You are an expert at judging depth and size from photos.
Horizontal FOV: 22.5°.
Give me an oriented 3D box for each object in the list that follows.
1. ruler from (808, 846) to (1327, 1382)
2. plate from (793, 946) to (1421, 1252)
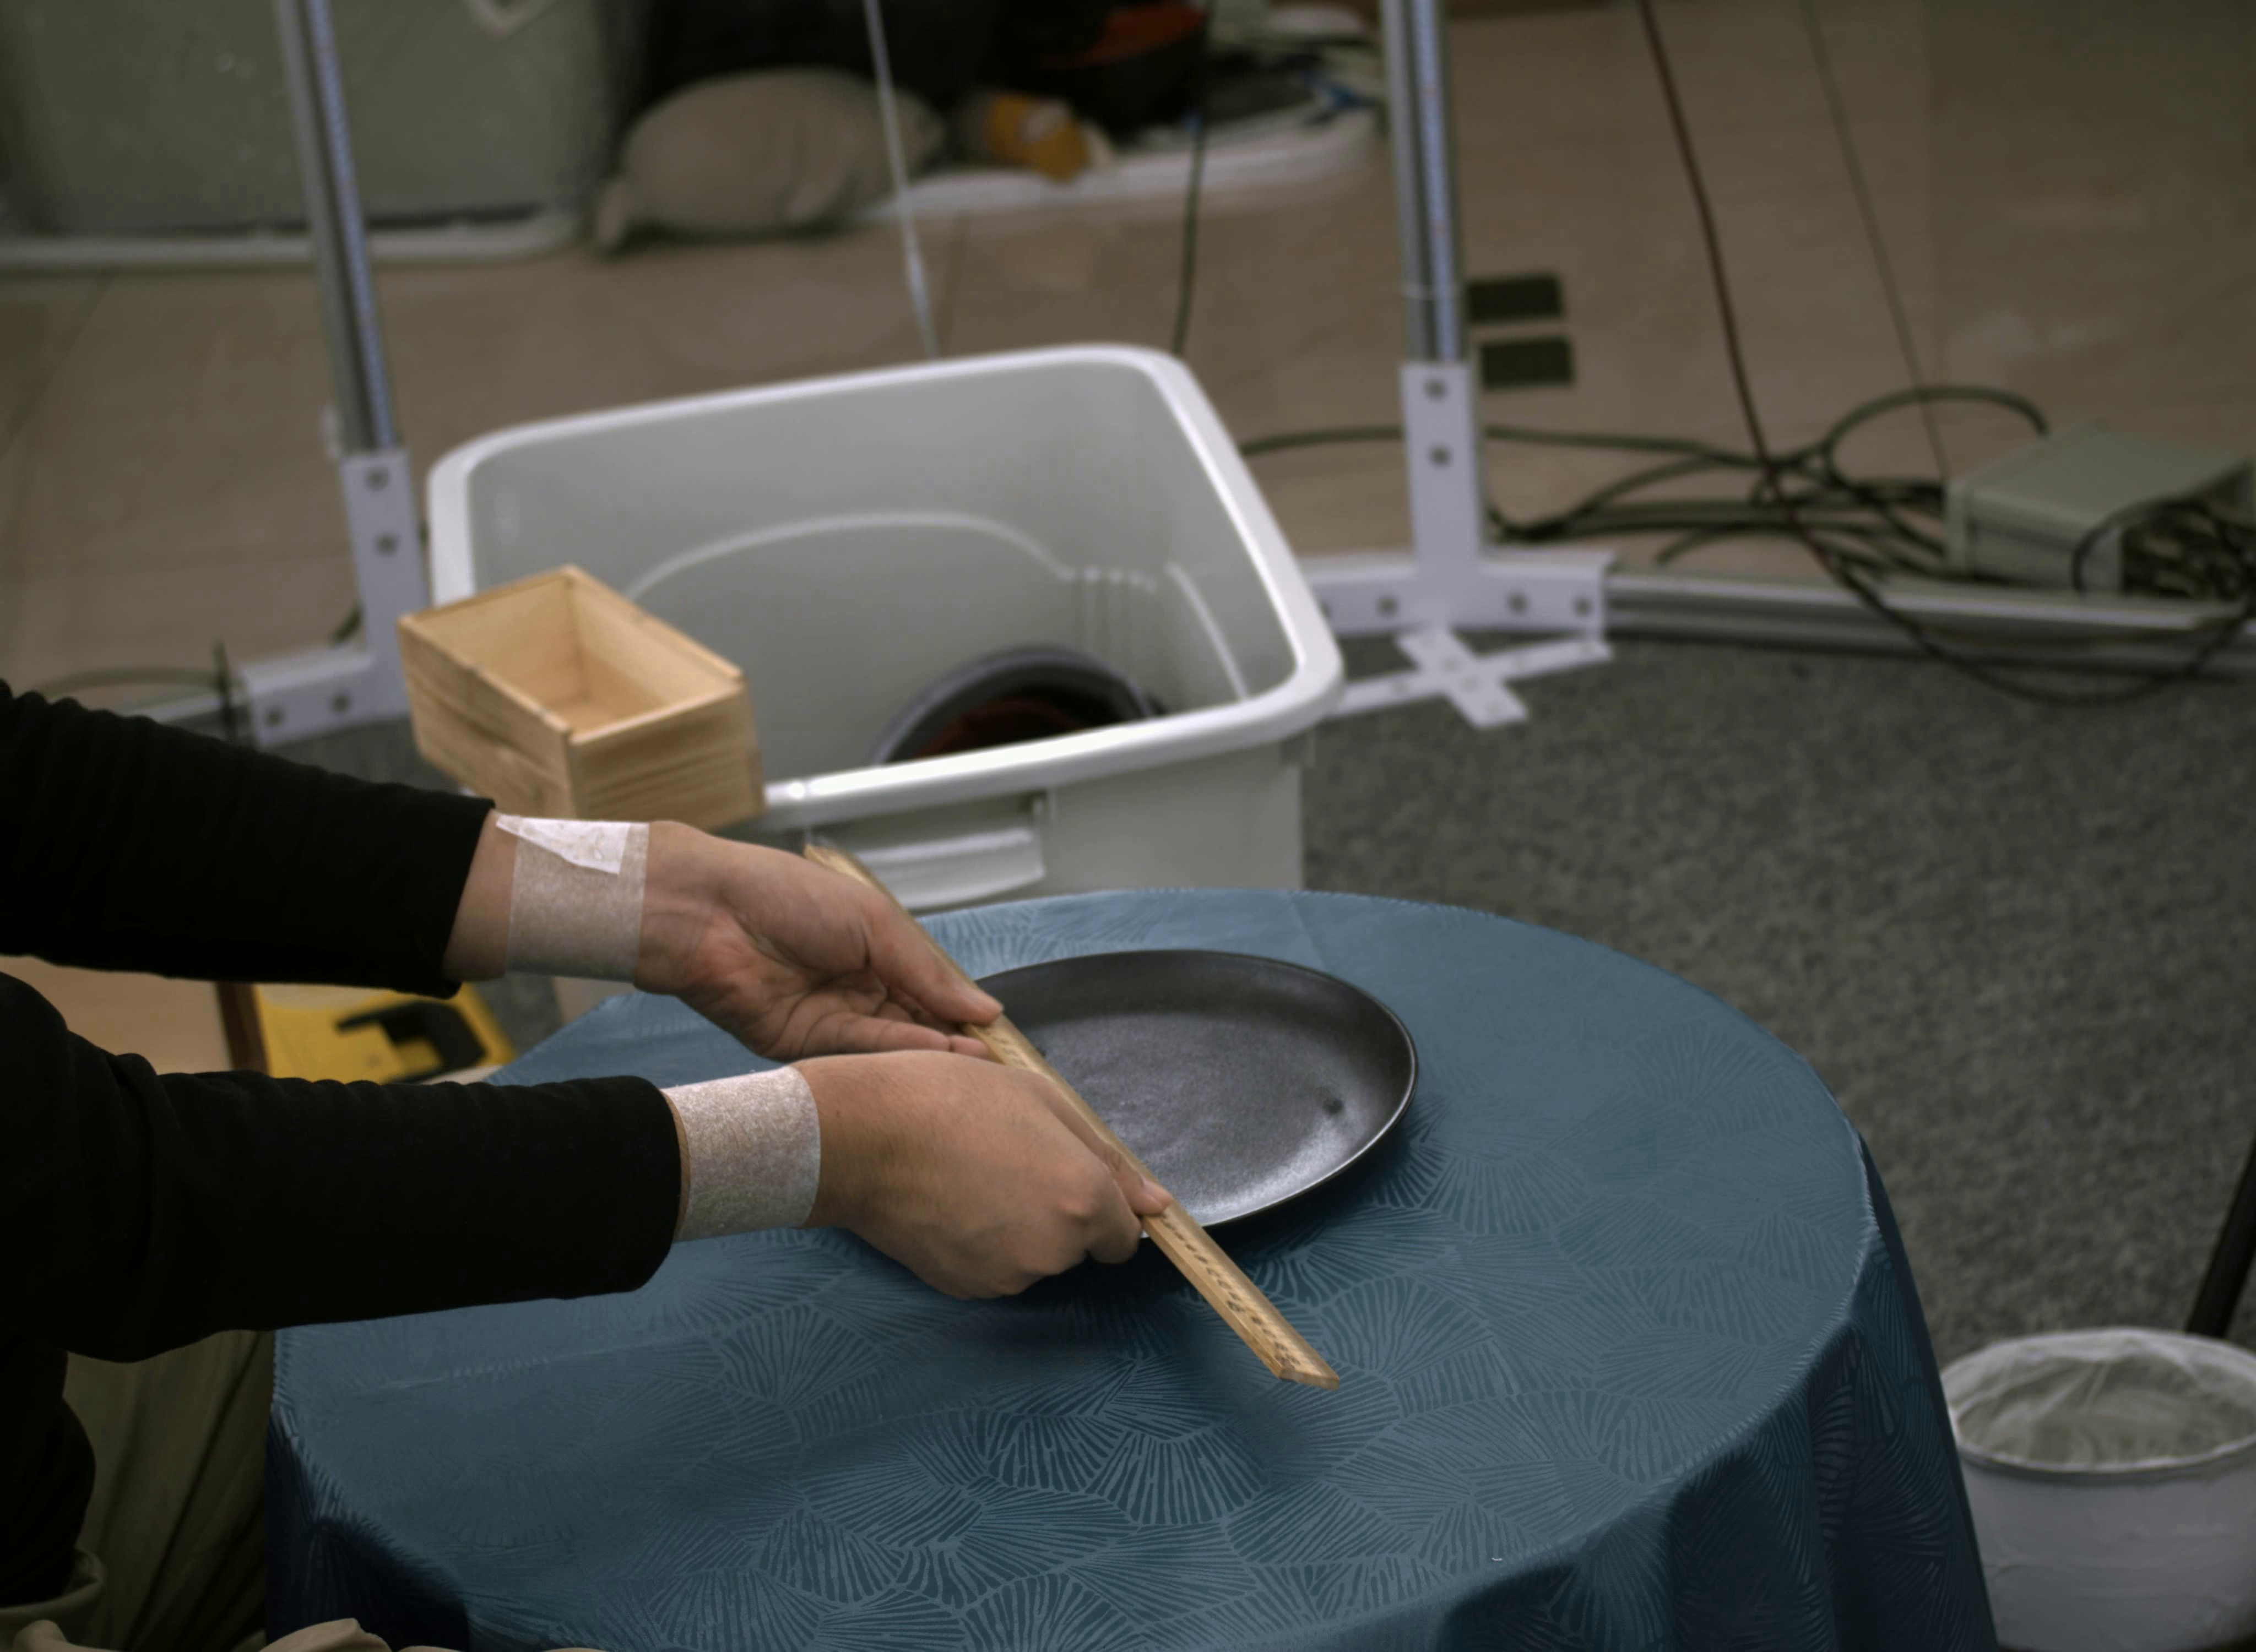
[{"bbox_3d":[-0.033,0.099,2.154,0.027,0.006,0.494,13,15,-27],"label":"ruler"},{"bbox_3d":[-0.008,0.110,2.184,0.244,0.024,0.241,-5,25,3],"label":"plate"}]
